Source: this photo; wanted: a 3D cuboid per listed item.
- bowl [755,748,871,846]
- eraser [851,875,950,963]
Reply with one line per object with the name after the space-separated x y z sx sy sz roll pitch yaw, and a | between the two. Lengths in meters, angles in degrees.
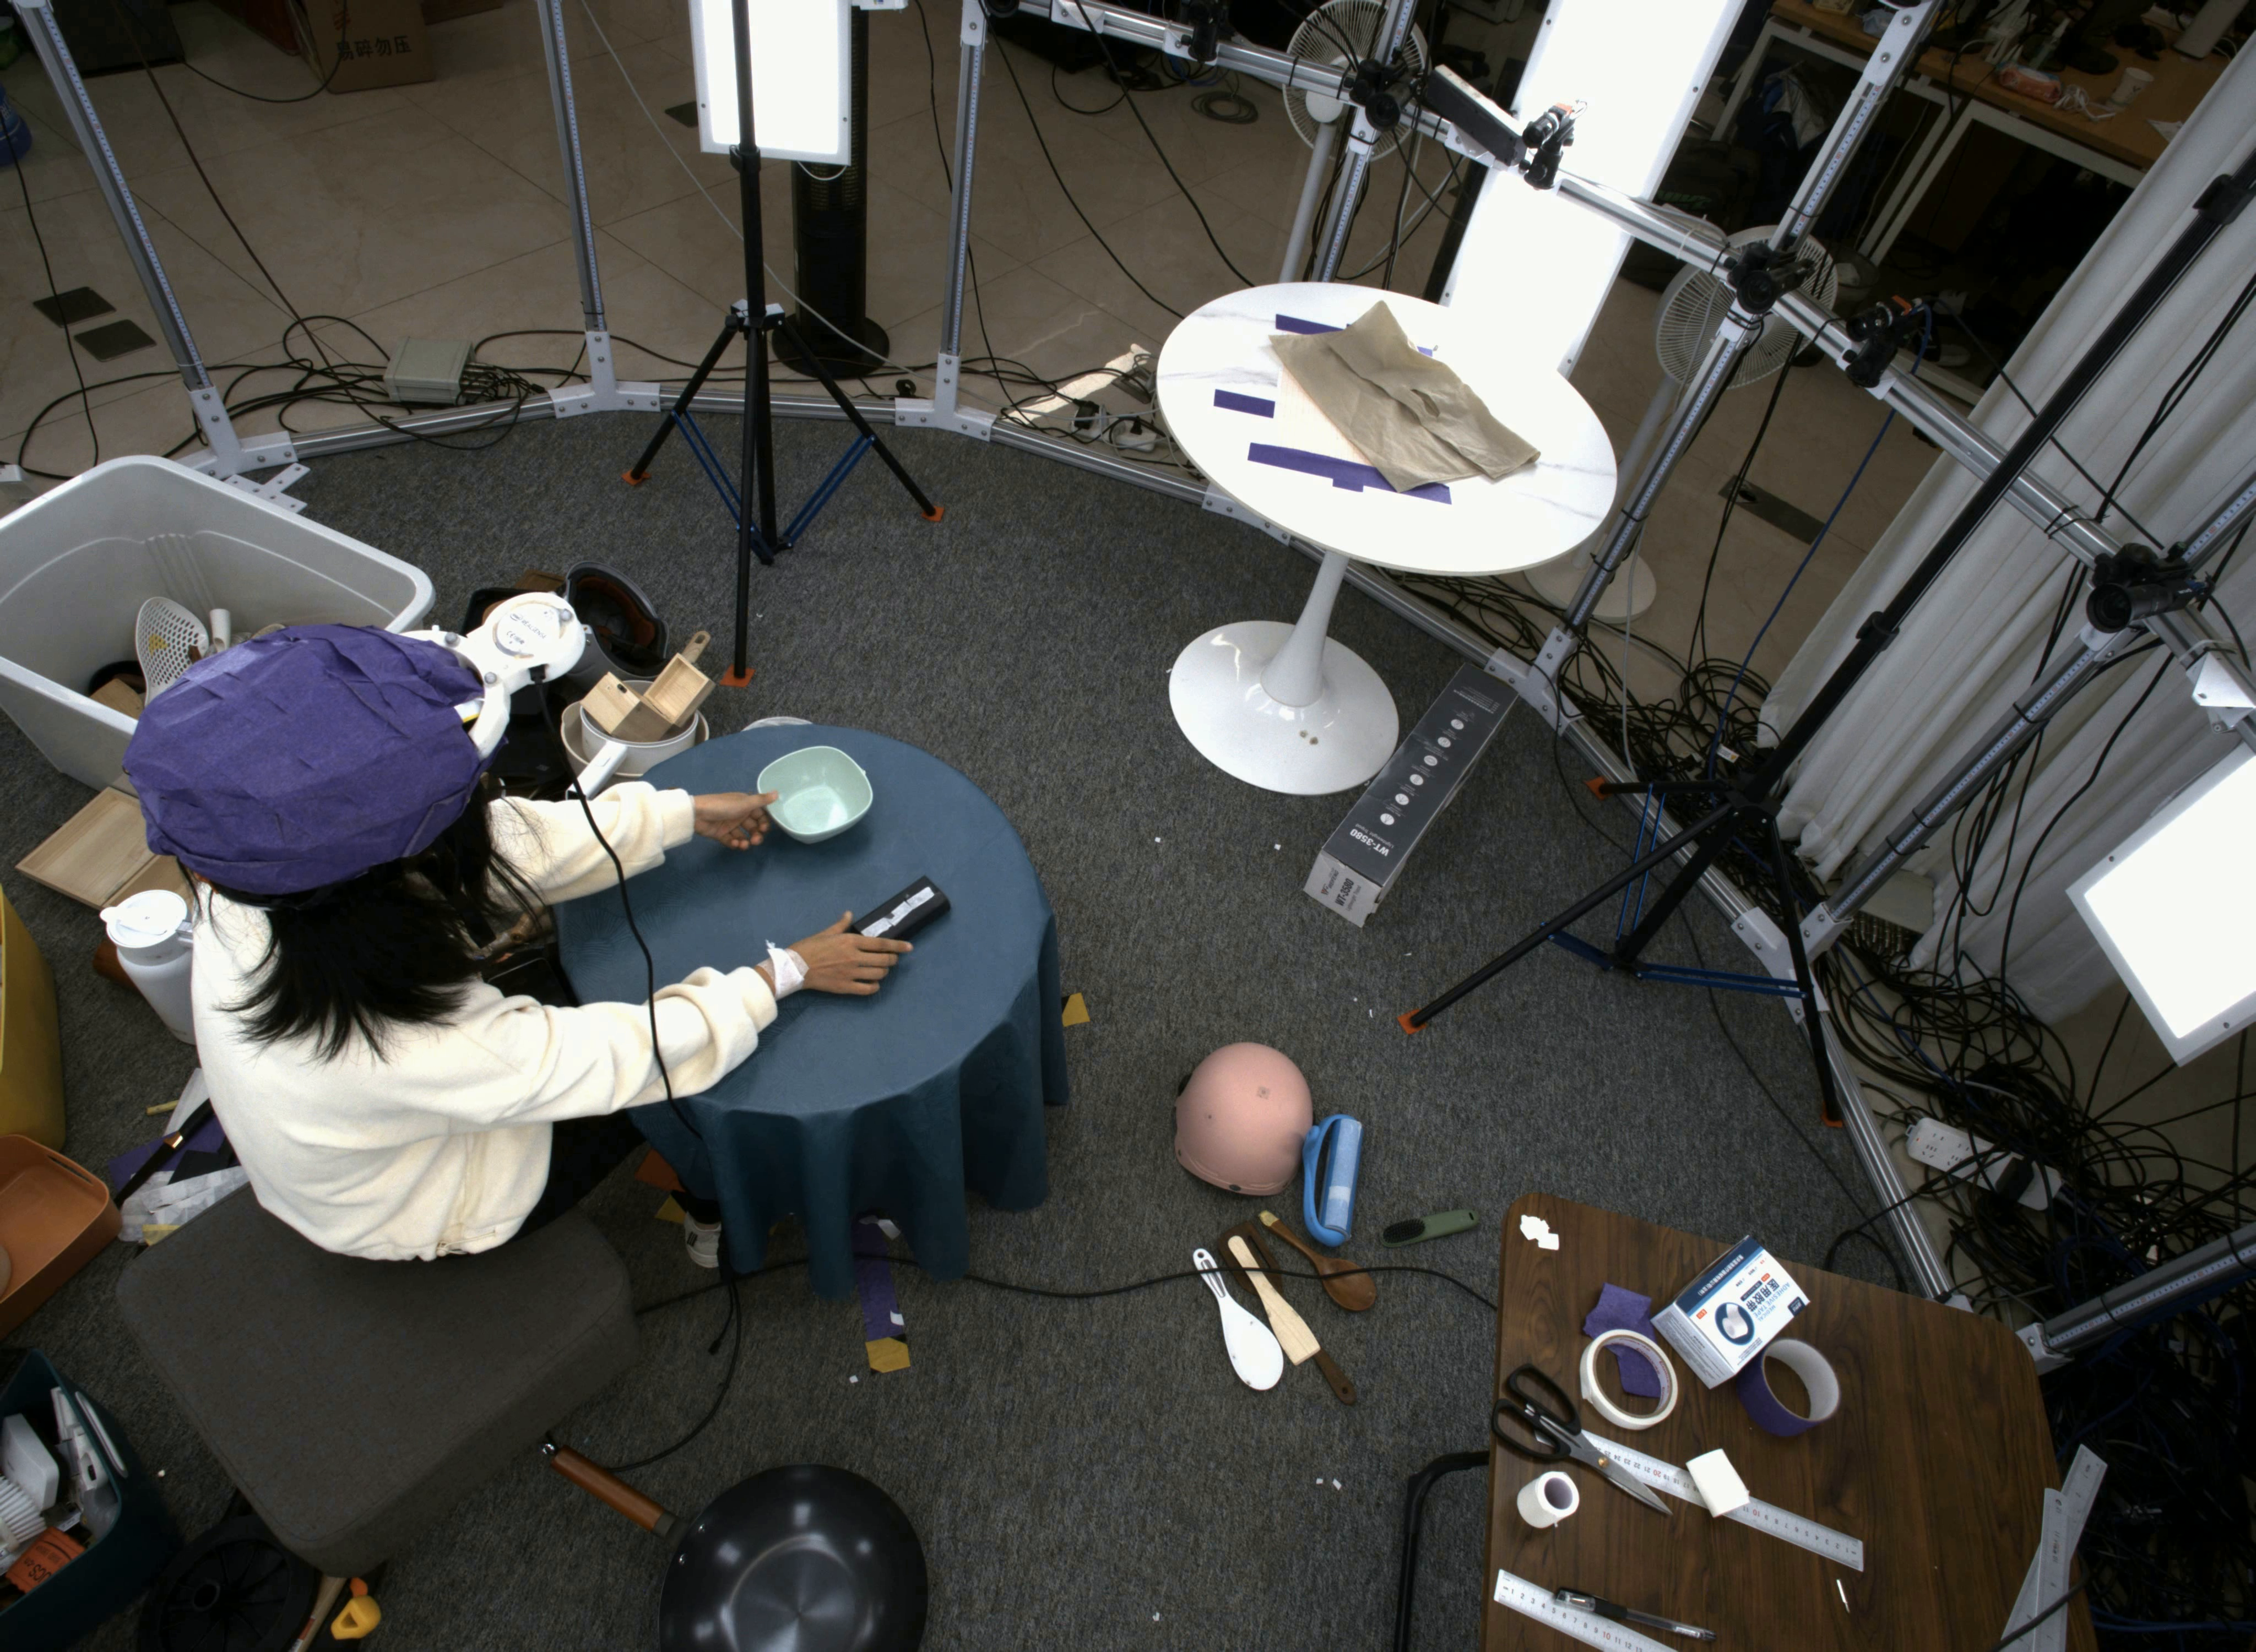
-0.414 -0.030 1.708 0.151 0.060 0.148 7 50 -7 | bowl
-0.287 0.115 1.652 0.052 0.031 0.125 39 56 18 | eraser
